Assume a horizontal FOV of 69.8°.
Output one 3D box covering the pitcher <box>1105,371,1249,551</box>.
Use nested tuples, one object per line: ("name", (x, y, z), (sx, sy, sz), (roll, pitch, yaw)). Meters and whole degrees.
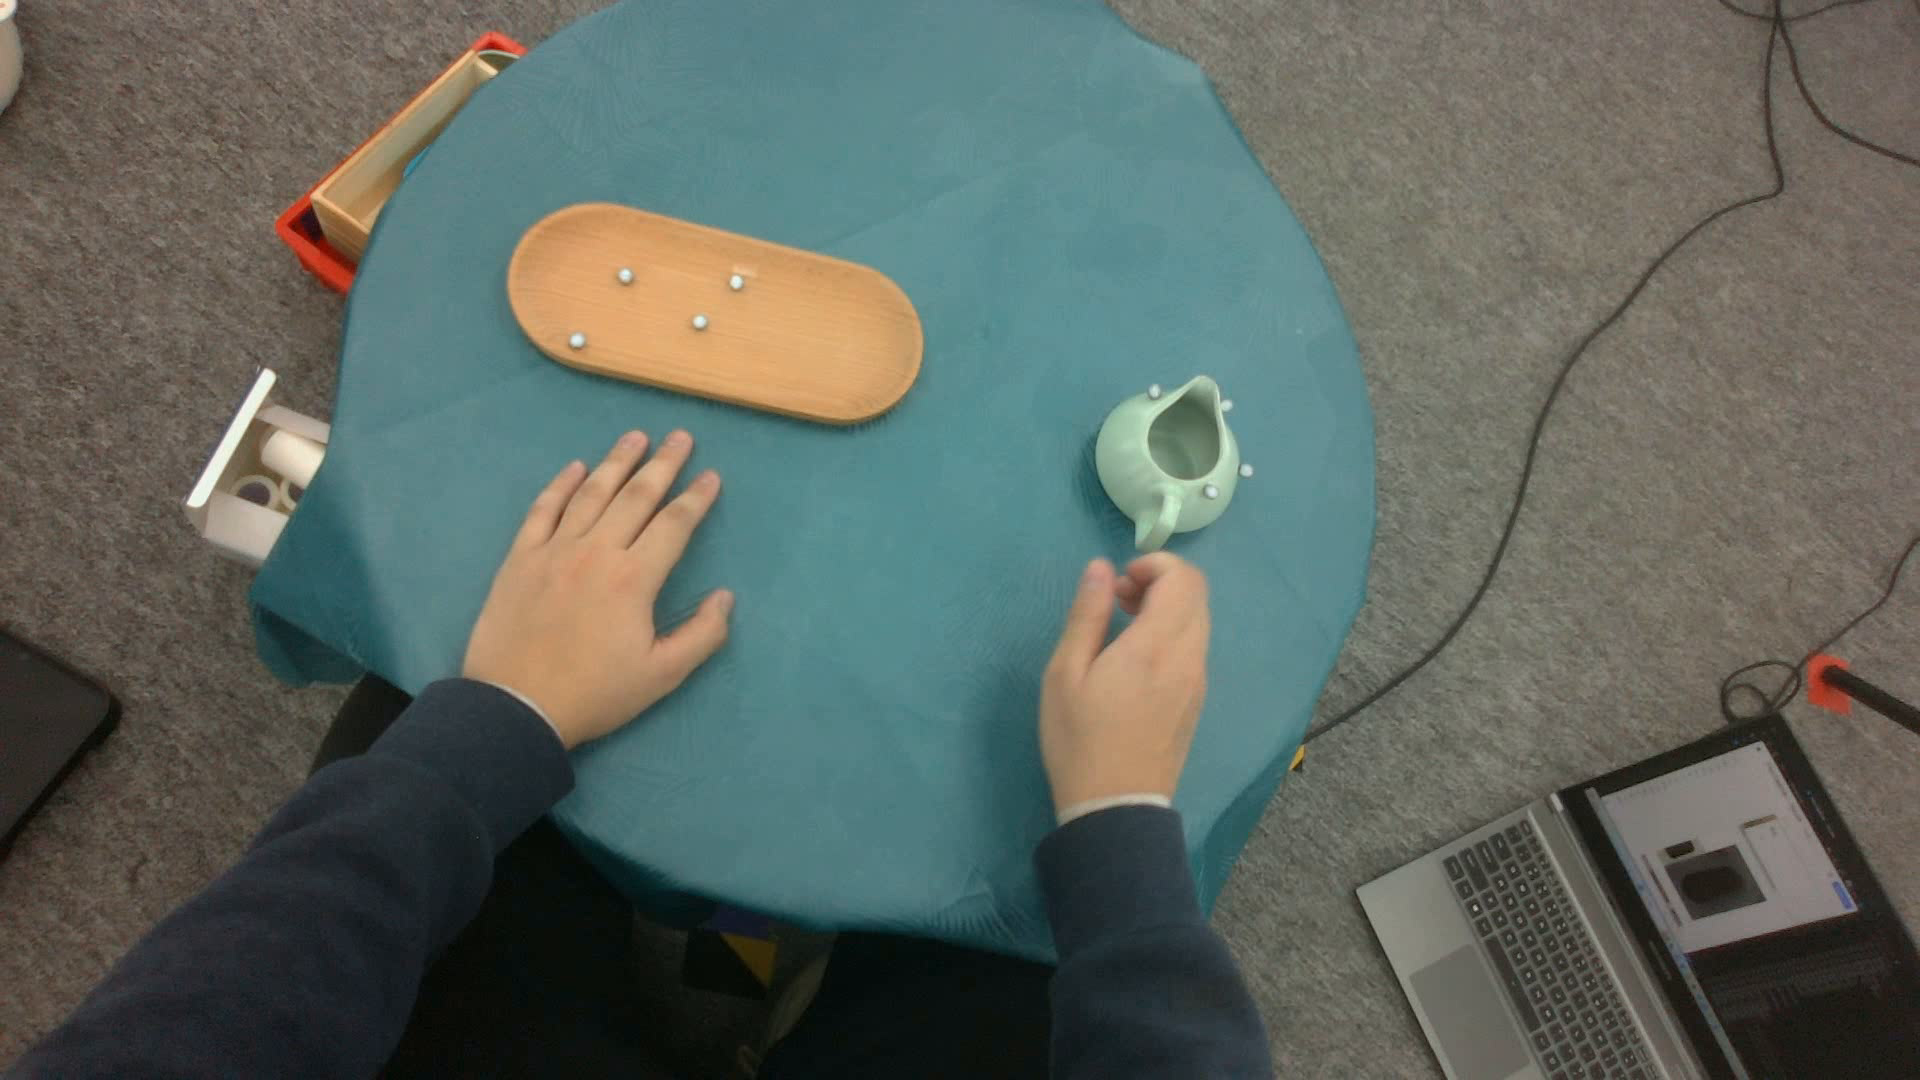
("pitcher", (0.126, -0.041, 0.797), (0.086, 0.060, 0.108), (19, 70, -4))

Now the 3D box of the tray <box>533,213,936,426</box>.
("tray", (-0.128, -0.126, 0.795), (0.231, 0.020, 0.102), (12, 70, -10))
